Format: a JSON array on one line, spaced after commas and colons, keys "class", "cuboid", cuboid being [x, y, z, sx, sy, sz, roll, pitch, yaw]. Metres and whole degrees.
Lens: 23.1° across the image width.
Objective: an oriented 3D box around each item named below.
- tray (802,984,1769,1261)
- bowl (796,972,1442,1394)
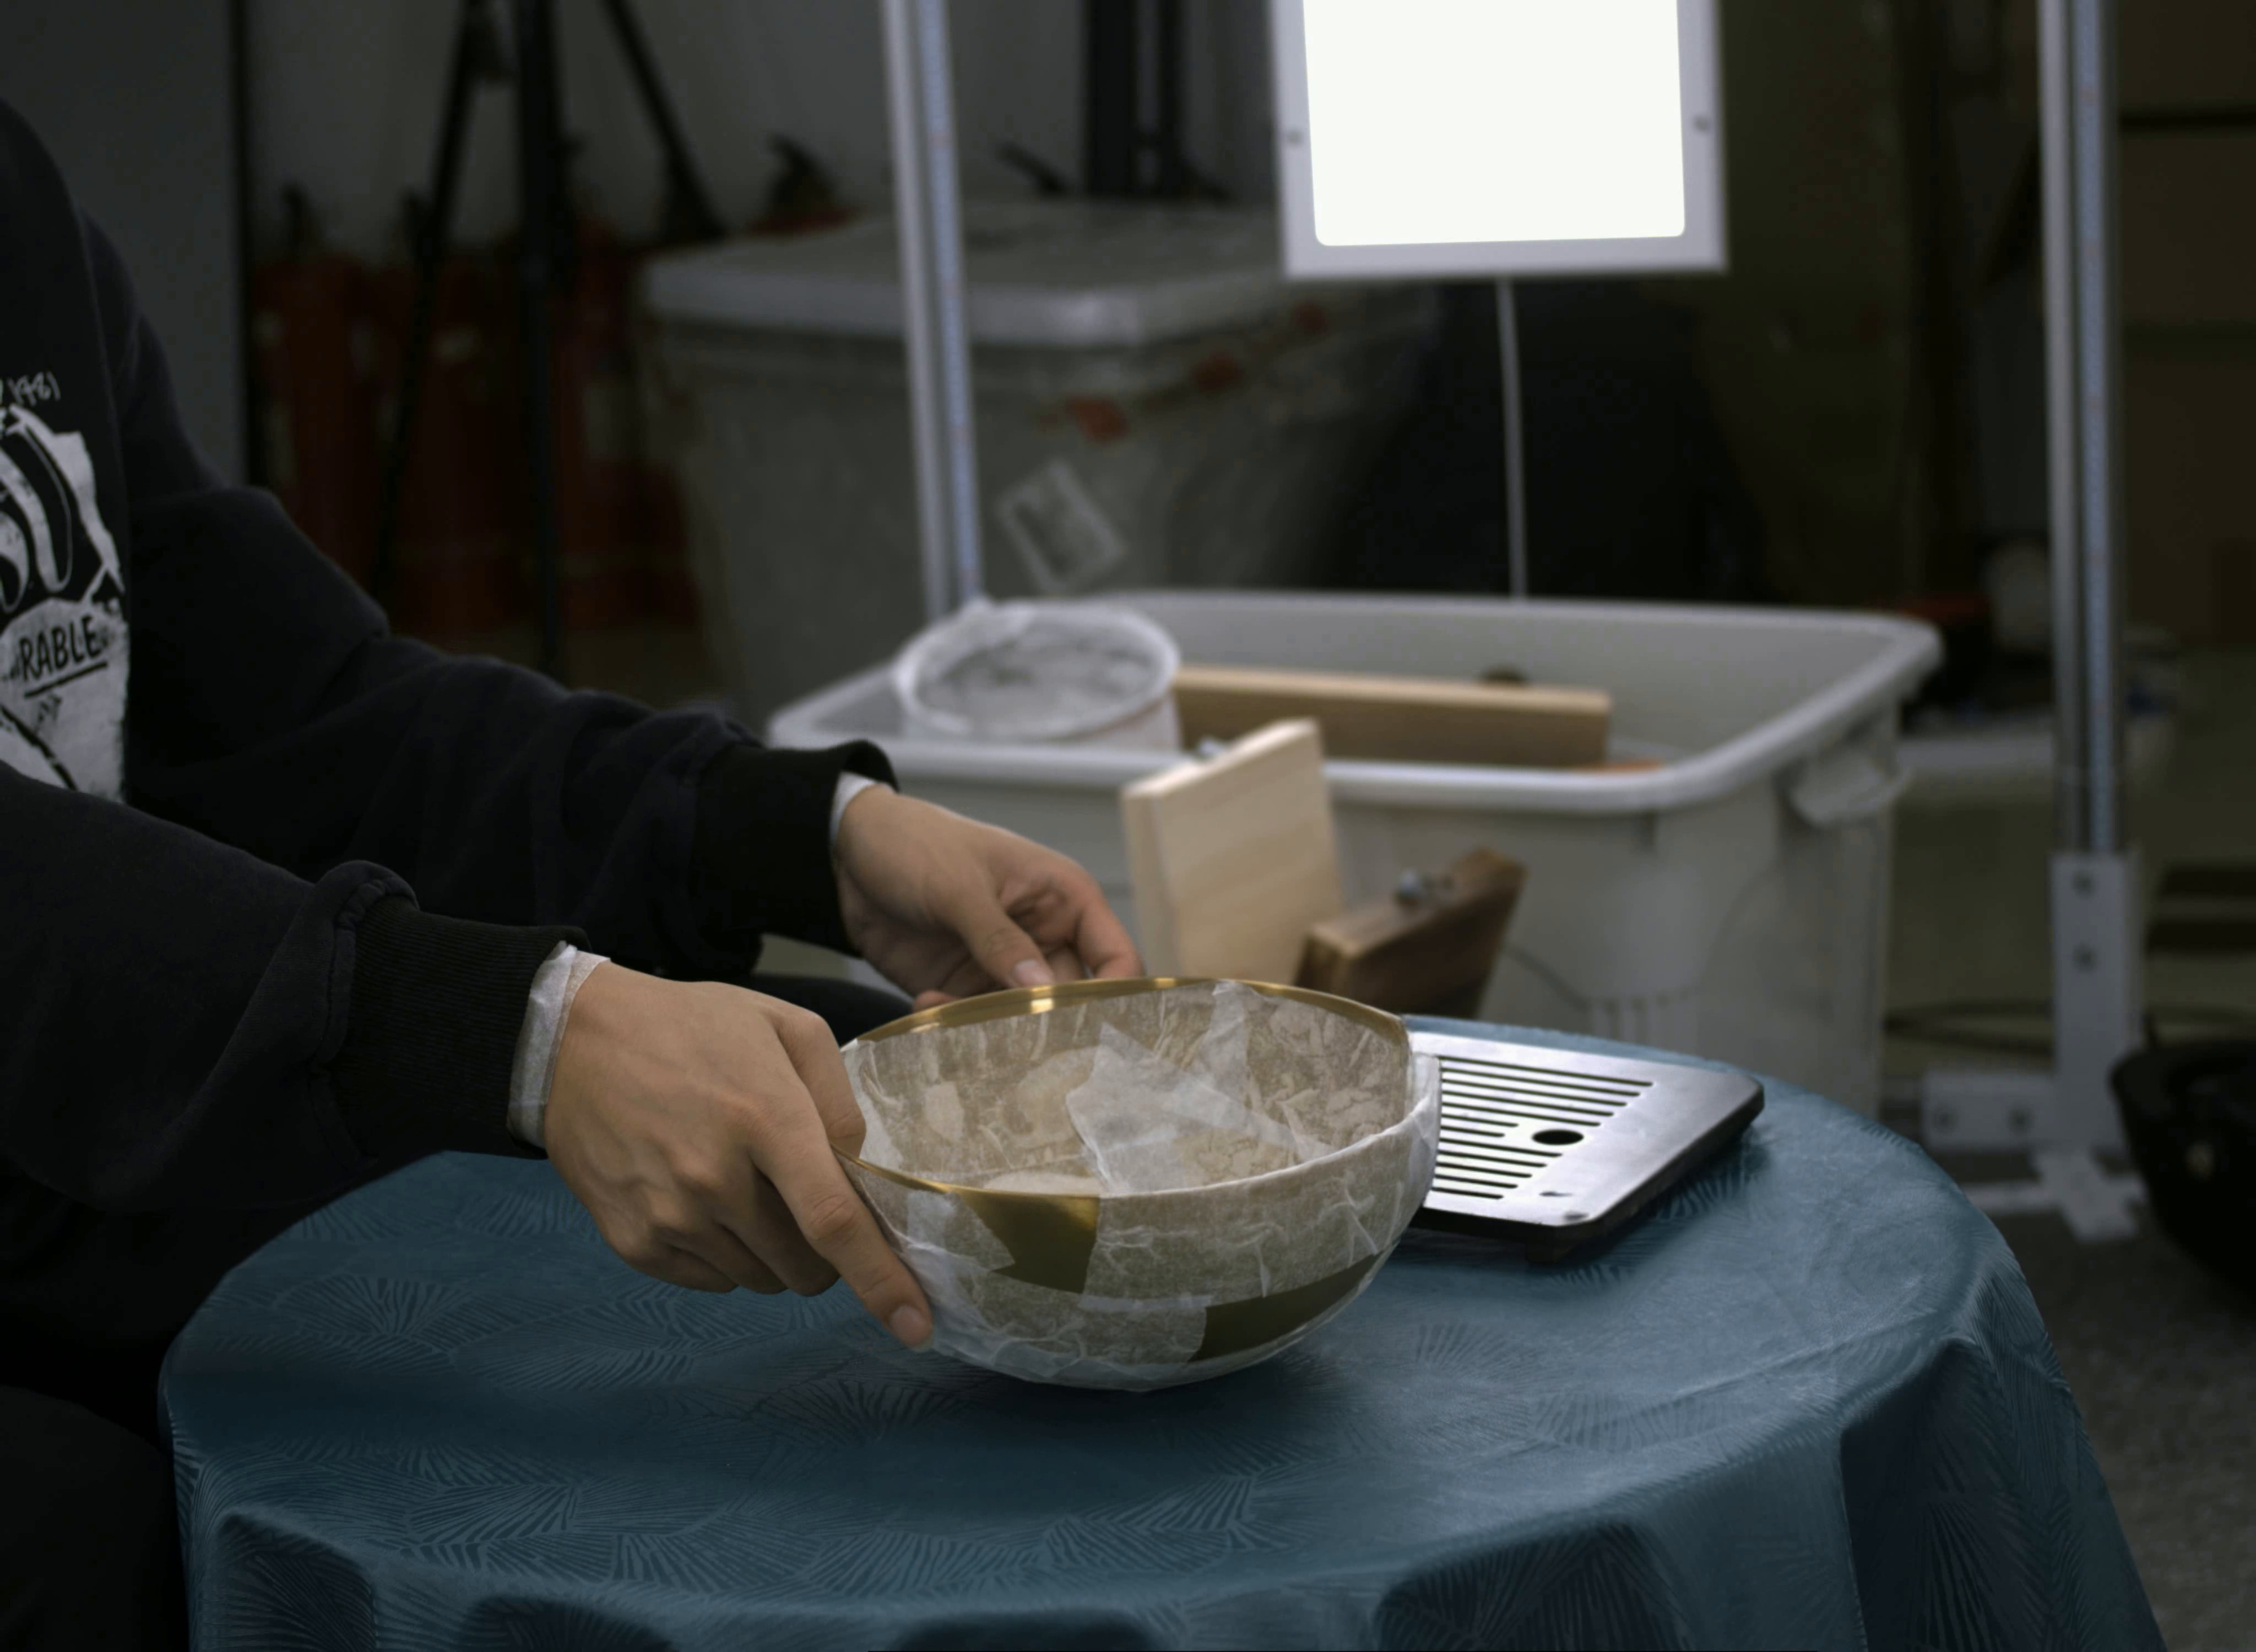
[{"class": "tray", "cuboid": [0.055, 0.101, 1.914, 0.311, 0.019, 0.166, 6, 18, 29]}, {"class": "bowl", "cuboid": [-0.002, 0.119, 1.722, 0.214, 0.095, 0.214, -4, 18, 0]}]
